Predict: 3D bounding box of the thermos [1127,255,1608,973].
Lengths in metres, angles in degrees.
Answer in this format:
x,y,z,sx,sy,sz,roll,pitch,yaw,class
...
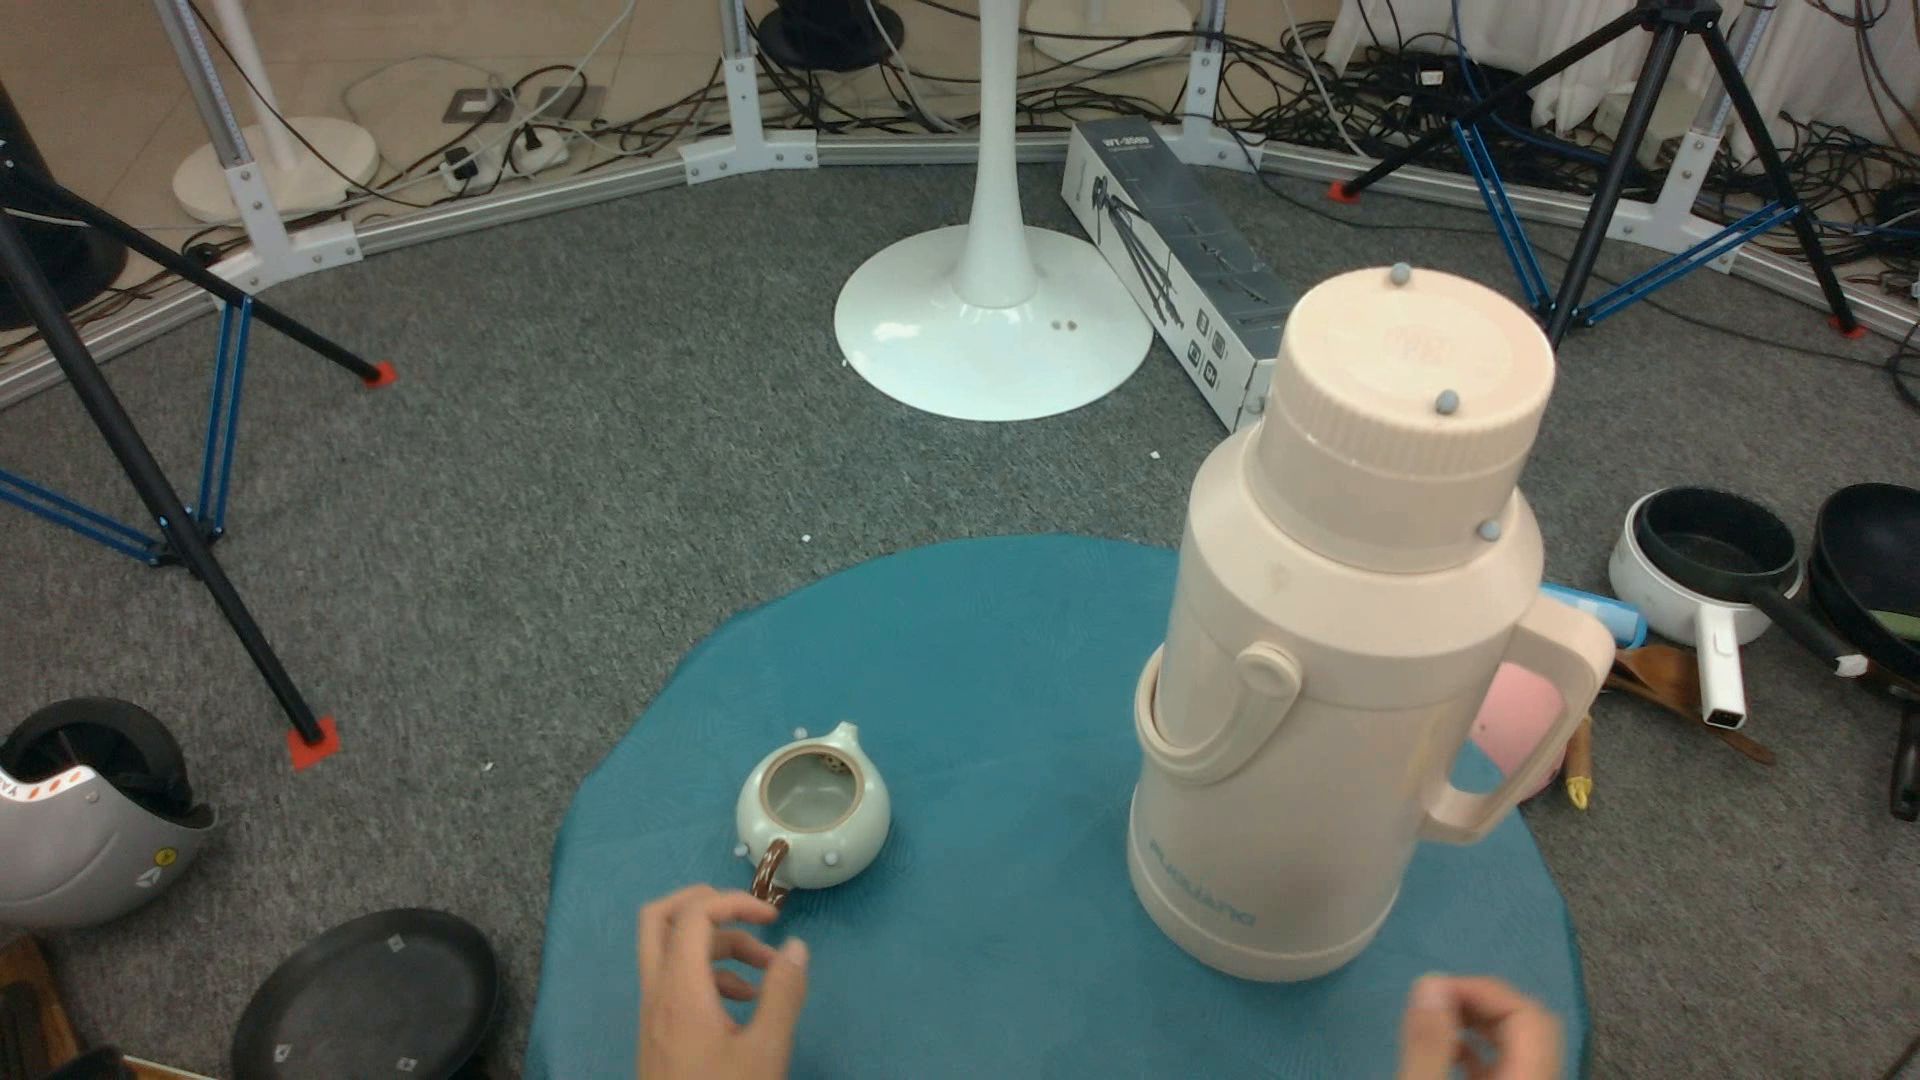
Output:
x,y,z,sx,sy,sz,roll,pitch,yaw,class
0.191,0.061,0.689,0.207,0.404,0.176,26,50,23,thermos

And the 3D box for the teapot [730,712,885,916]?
x,y,z,sx,sy,sz,roll,pitch,yaw,class
-0.094,0.164,0.816,0.092,0.059,0.129,18,48,10,teapot
